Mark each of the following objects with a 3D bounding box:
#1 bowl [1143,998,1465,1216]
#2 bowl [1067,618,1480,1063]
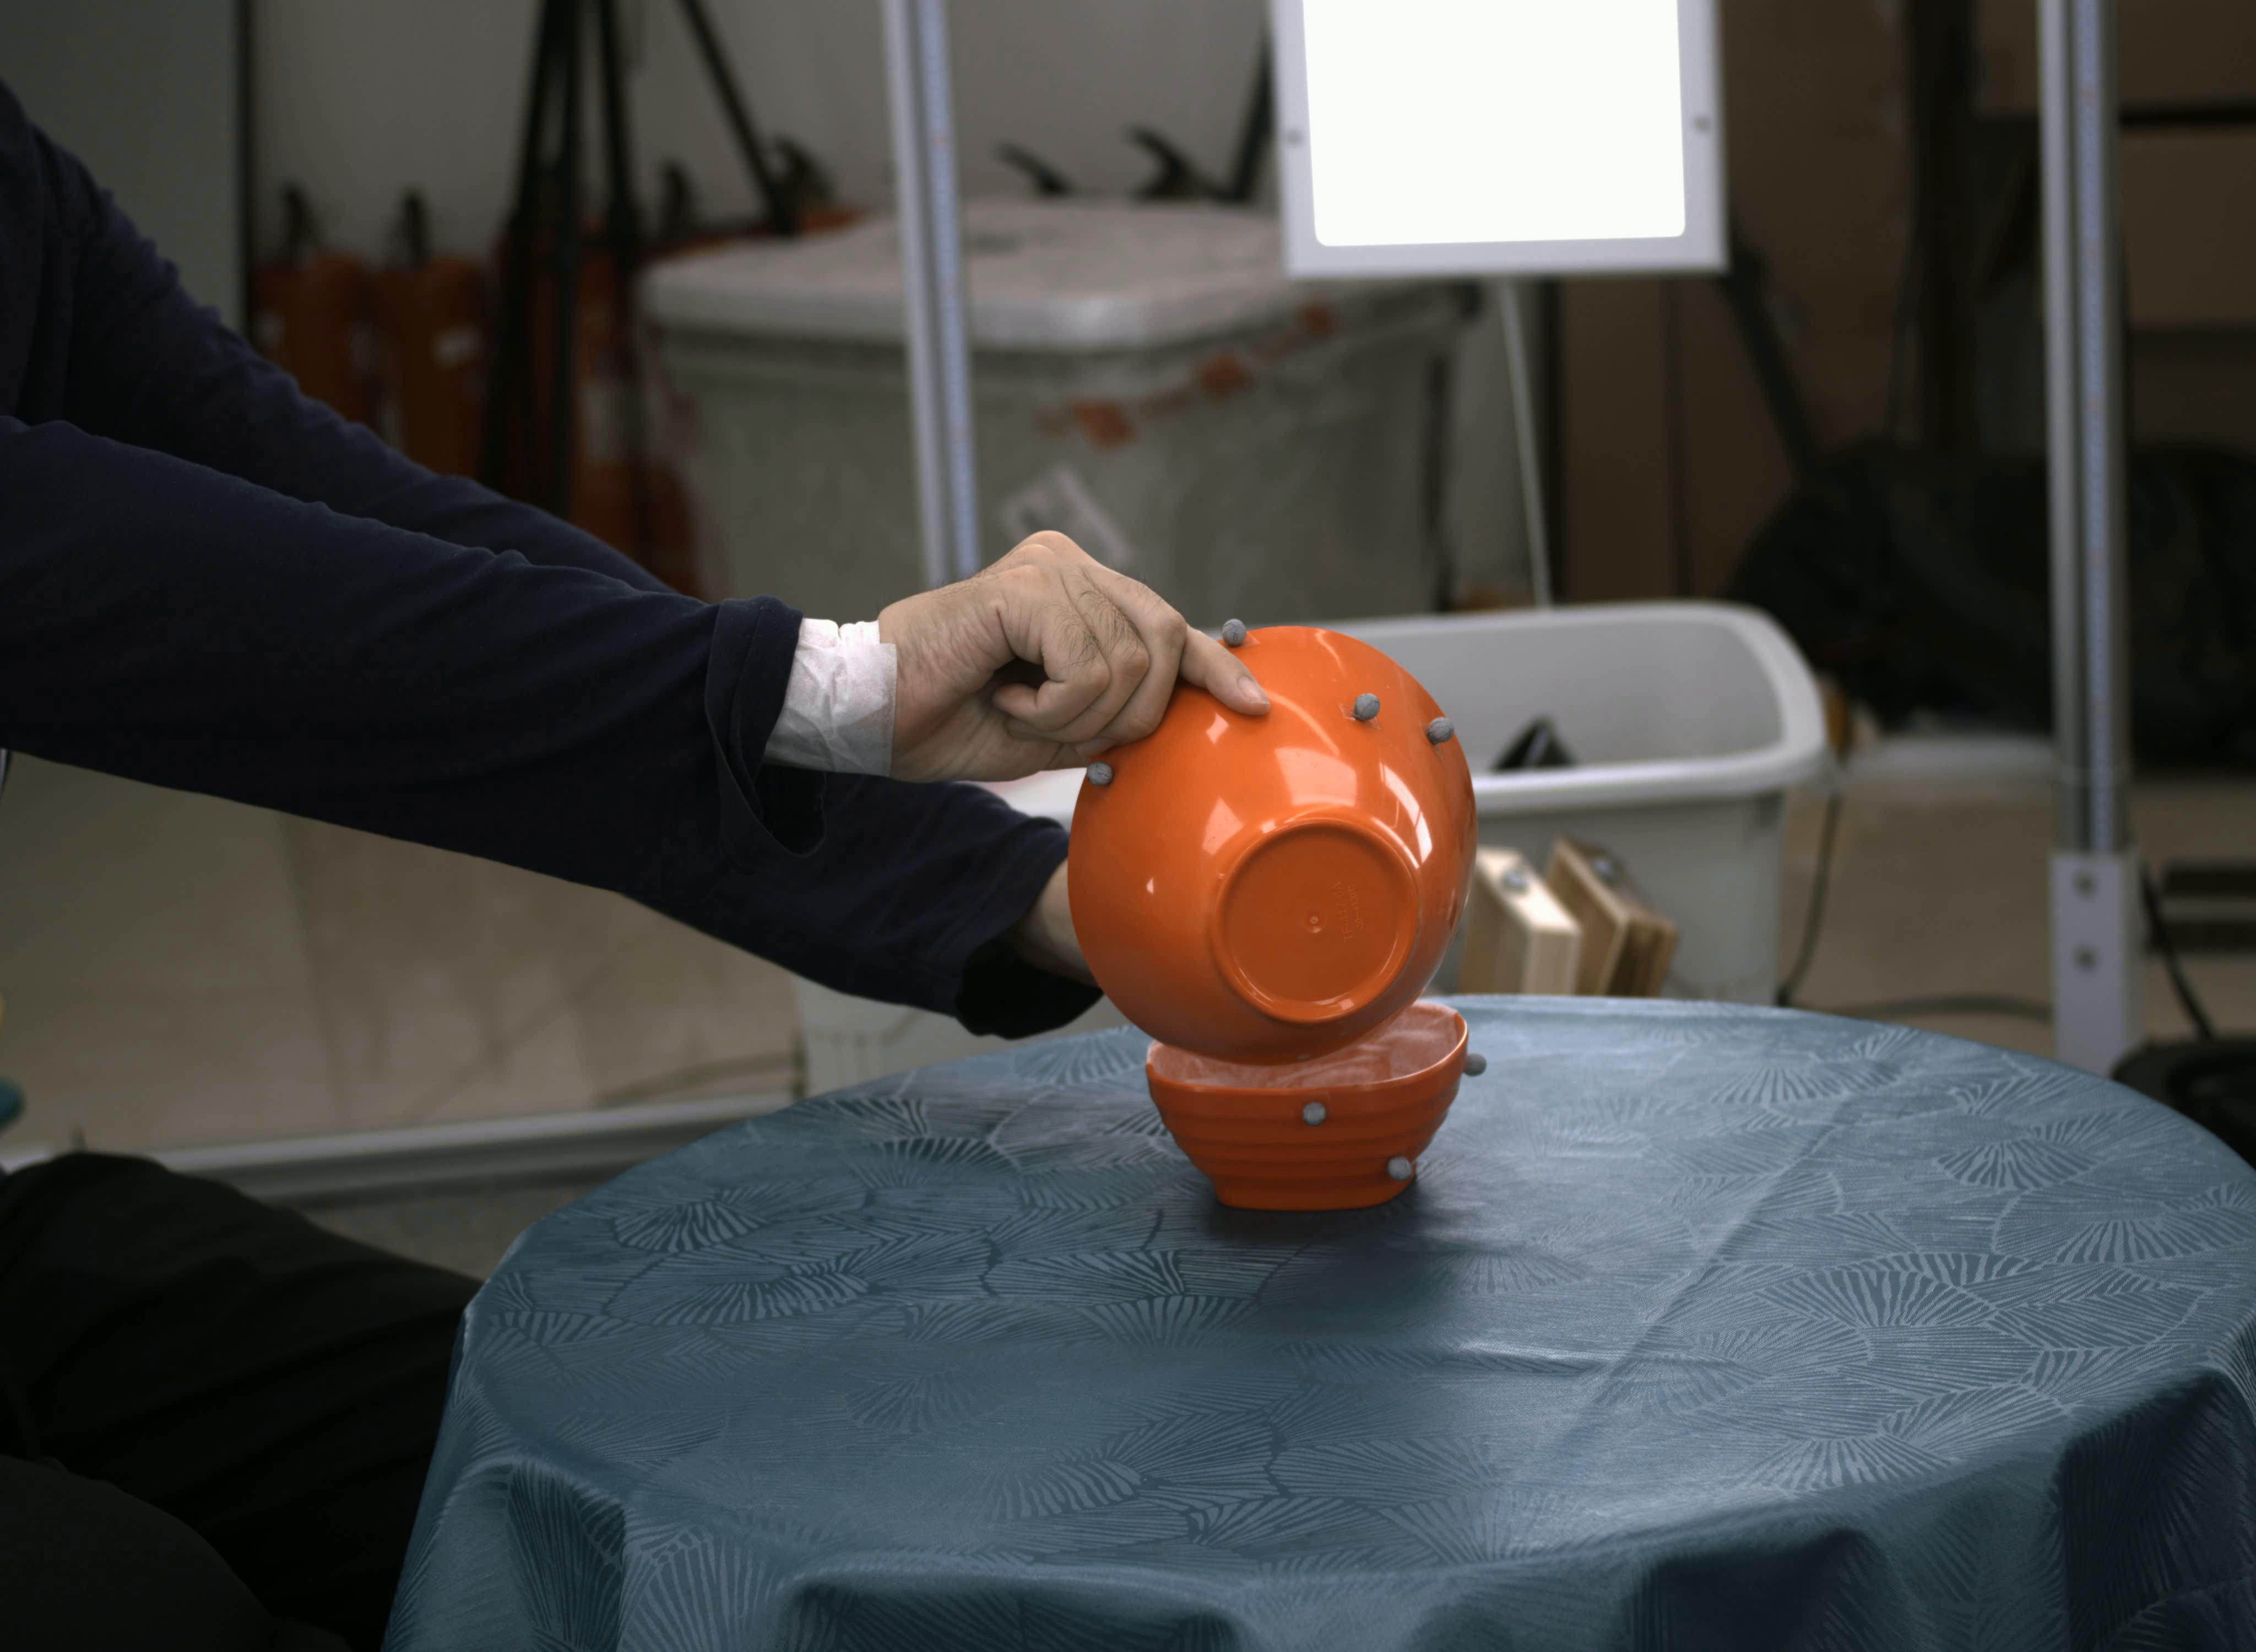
[{"bbox_3d":[0.063,0.099,1.892,0.118,0.051,0.119,-7,15,0],"label":"bowl"},{"bbox_3d":[0.058,0.014,1.774,0.146,0.148,0.105,-7,15,-11],"label":"bowl"}]
